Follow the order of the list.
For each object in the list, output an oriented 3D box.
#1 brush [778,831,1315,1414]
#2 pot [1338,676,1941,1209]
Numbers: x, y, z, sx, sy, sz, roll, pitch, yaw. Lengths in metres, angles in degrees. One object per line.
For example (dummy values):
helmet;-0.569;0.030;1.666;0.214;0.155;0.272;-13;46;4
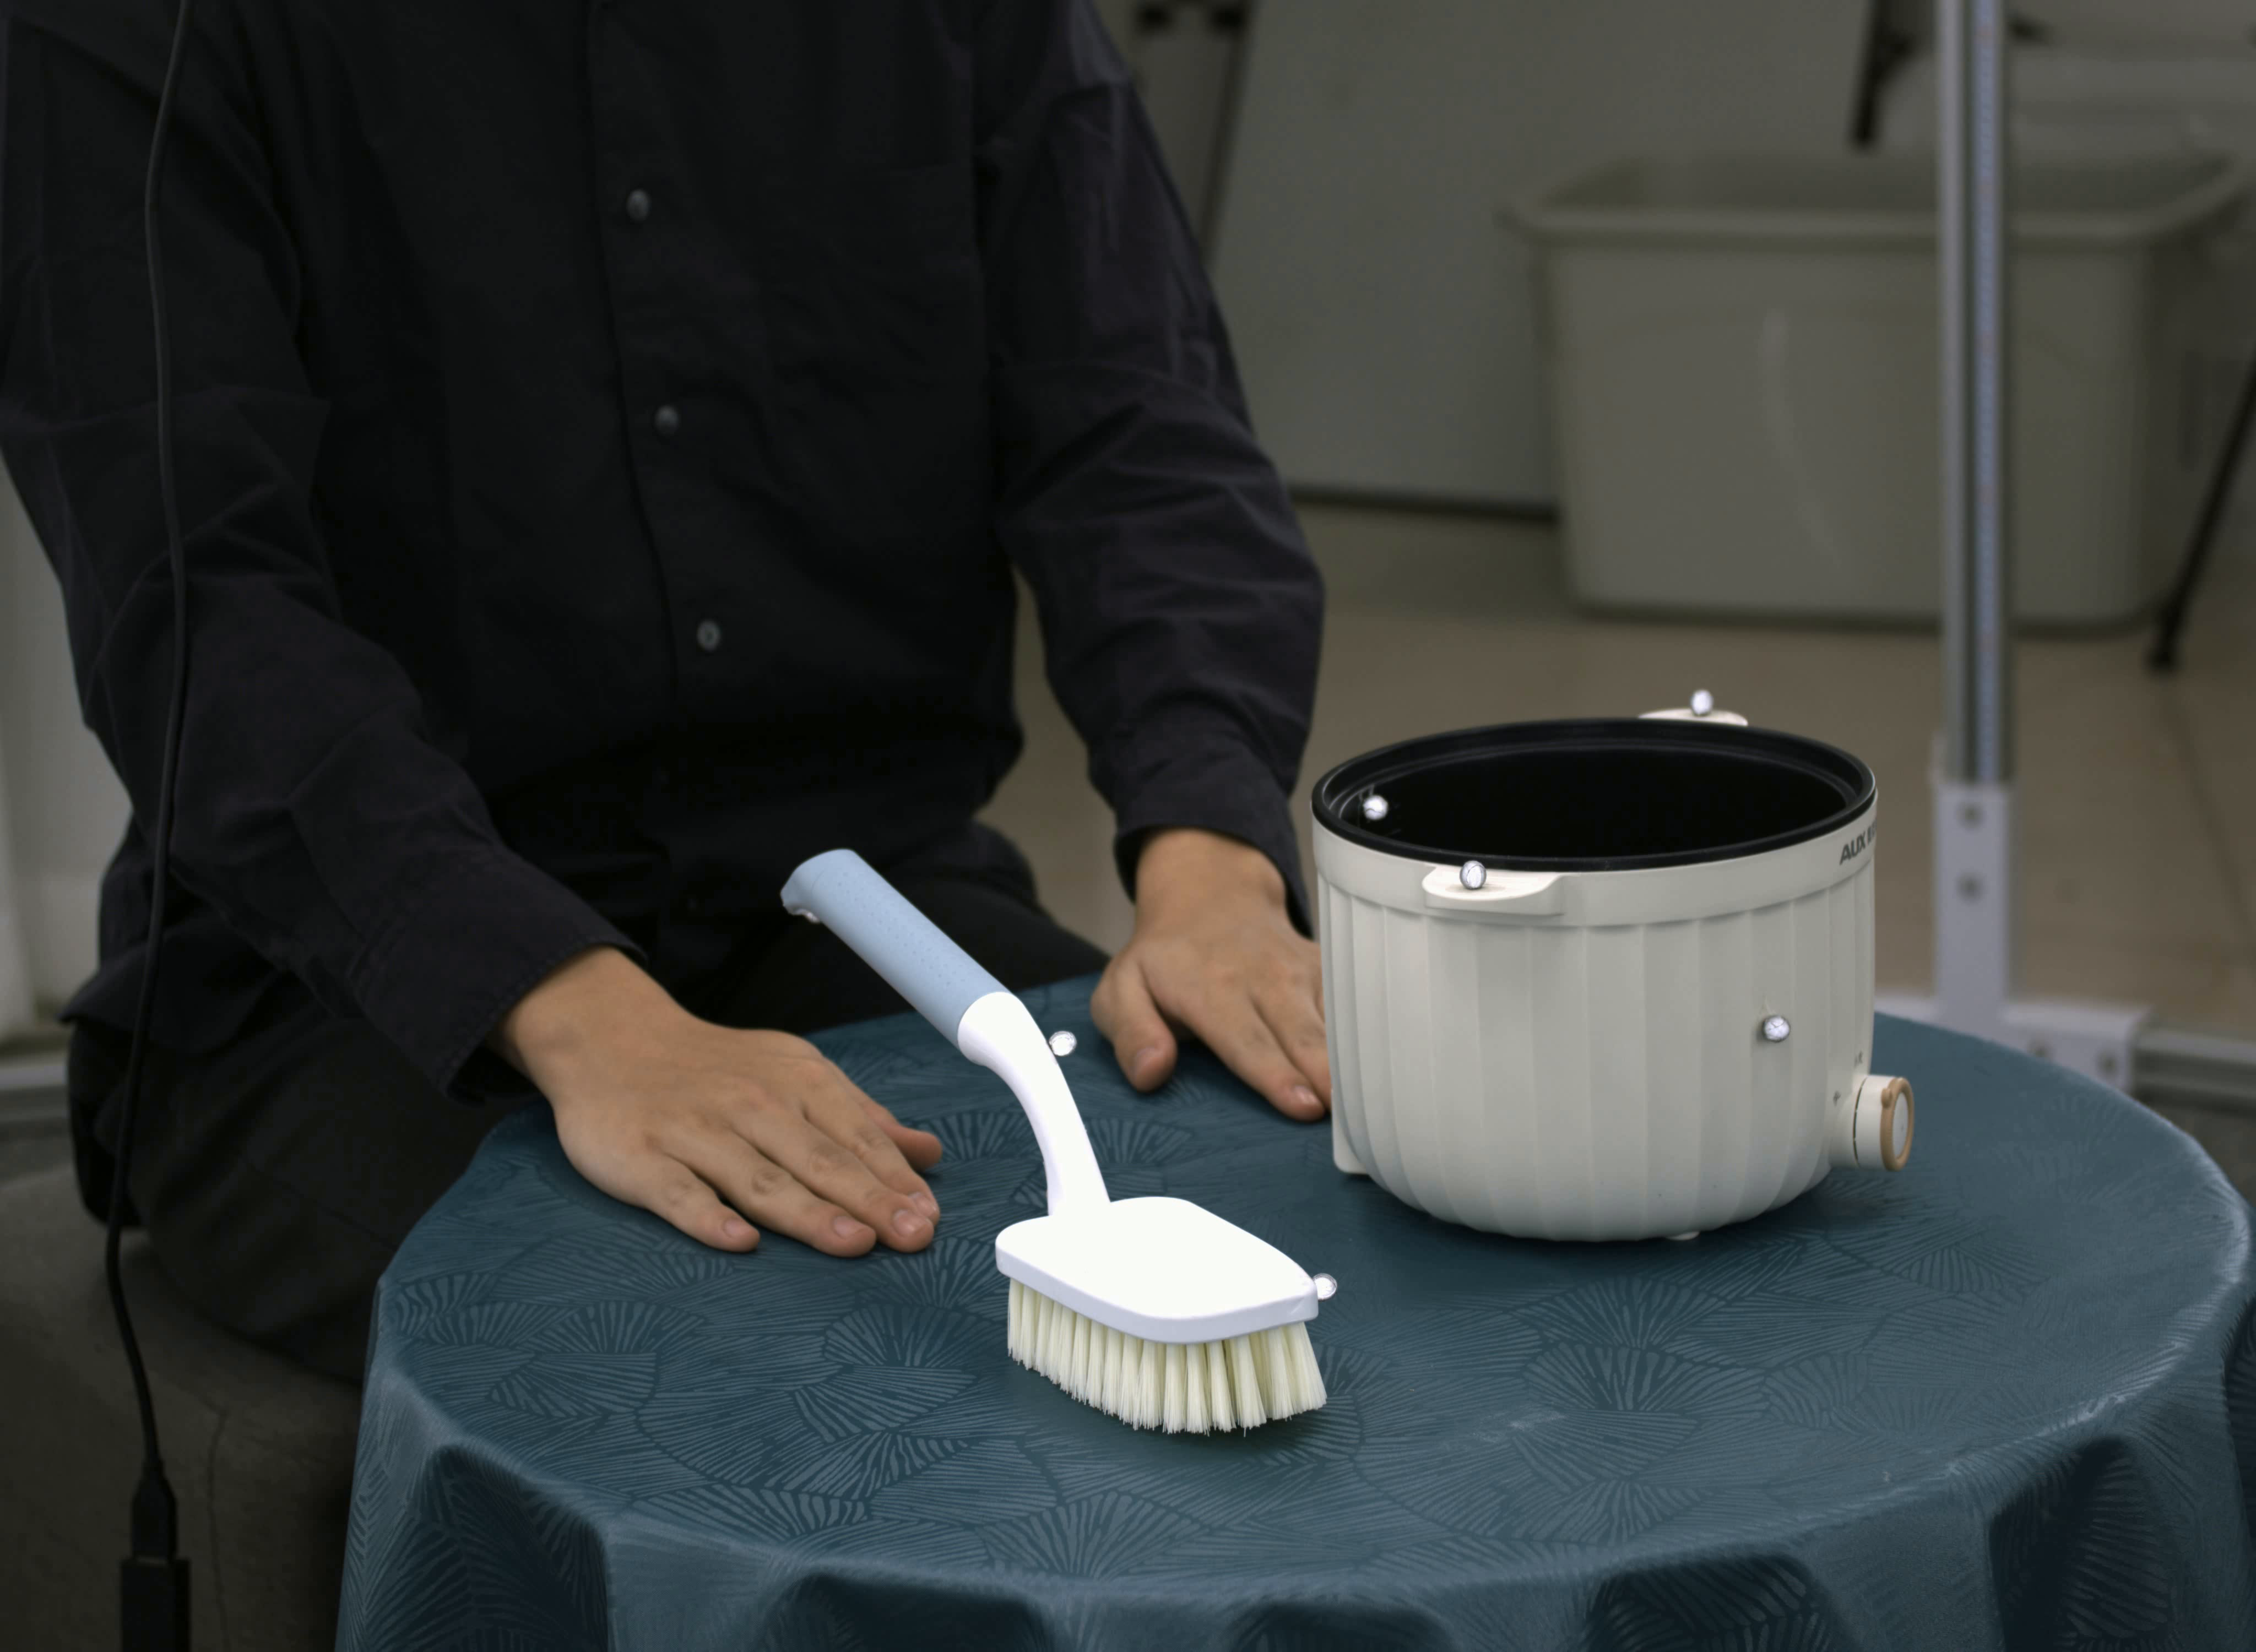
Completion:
brush;-0.030;0.103;1.671;0.081;0.085;0.329;31;5;-36
pot;0.166;0.040;1.738;0.190;0.144;0.238;0;15;24
